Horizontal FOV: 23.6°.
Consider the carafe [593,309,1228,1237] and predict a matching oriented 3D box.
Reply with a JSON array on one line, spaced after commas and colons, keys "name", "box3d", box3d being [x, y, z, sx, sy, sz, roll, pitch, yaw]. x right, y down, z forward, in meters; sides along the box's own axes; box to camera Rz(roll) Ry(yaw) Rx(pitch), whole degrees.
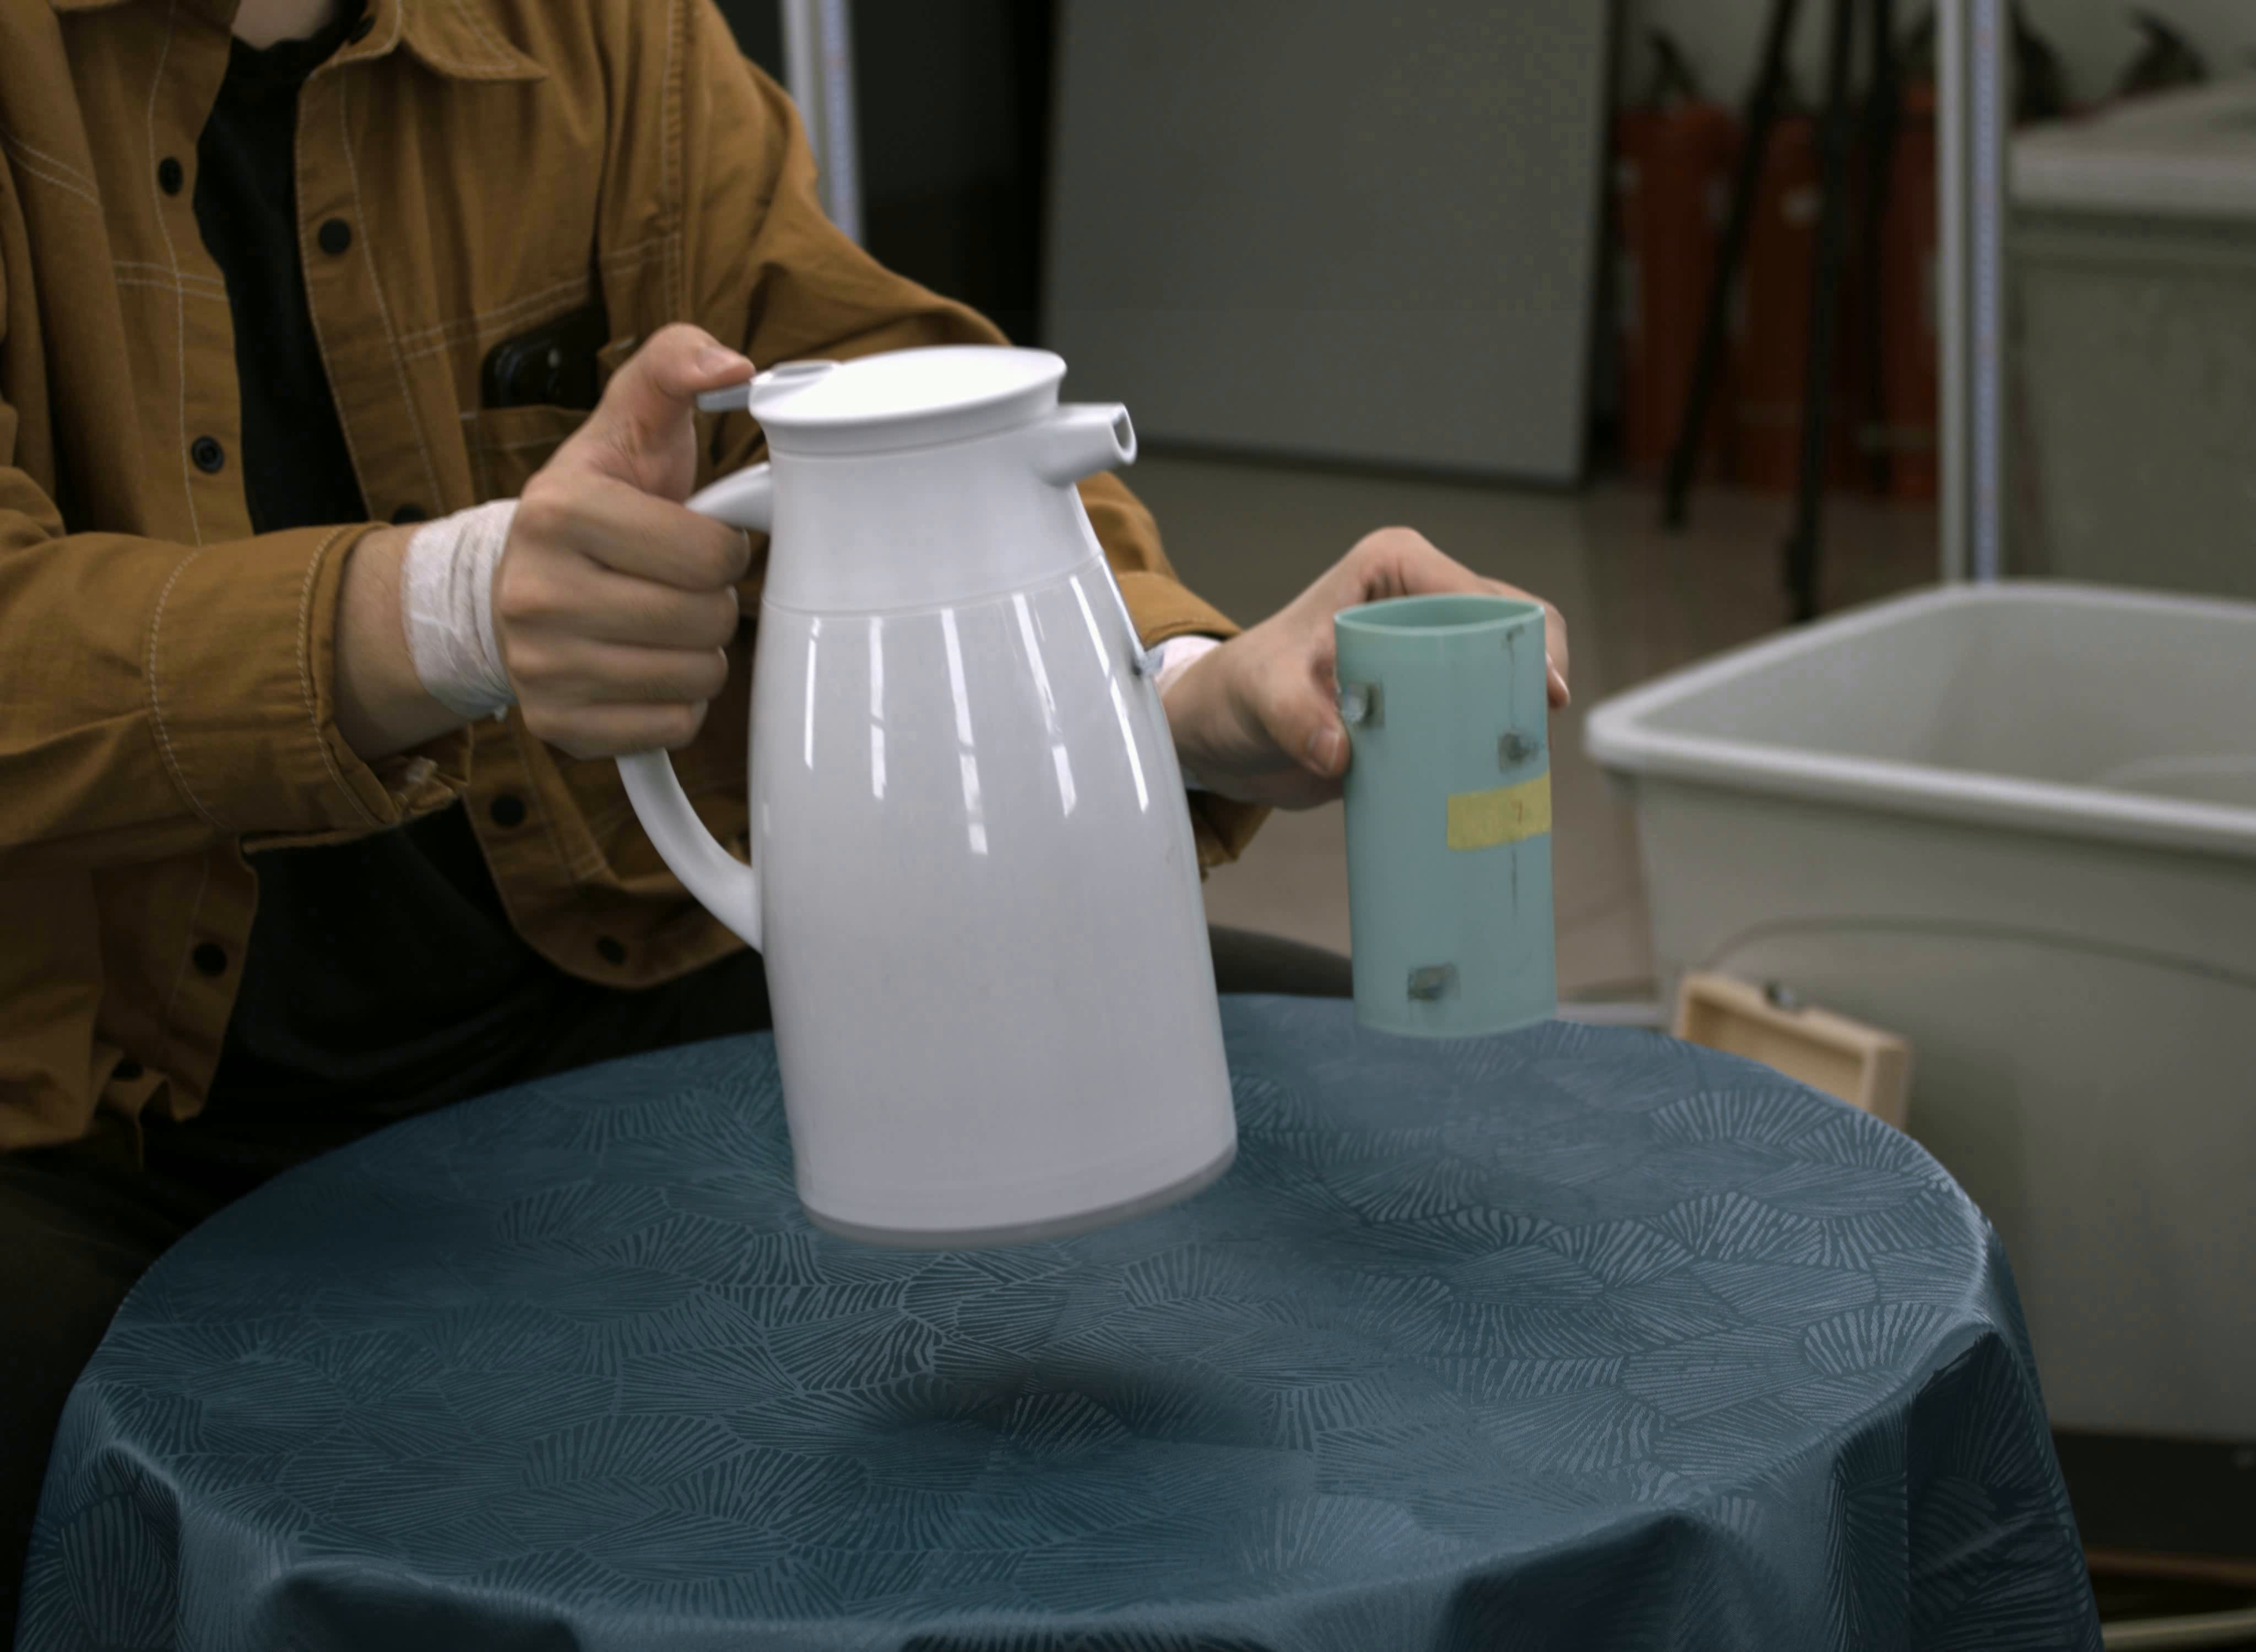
[{"name": "carafe", "box3d": [-0.069, -0.019, 1.559, 0.167, 0.251, 0.132, -5, 14, 15]}]

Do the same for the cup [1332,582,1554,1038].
[{"name": "cup", "box3d": [0.099, -0.006, 1.689, 0.066, 0.134, 0.067, -3, 11, 0]}]
